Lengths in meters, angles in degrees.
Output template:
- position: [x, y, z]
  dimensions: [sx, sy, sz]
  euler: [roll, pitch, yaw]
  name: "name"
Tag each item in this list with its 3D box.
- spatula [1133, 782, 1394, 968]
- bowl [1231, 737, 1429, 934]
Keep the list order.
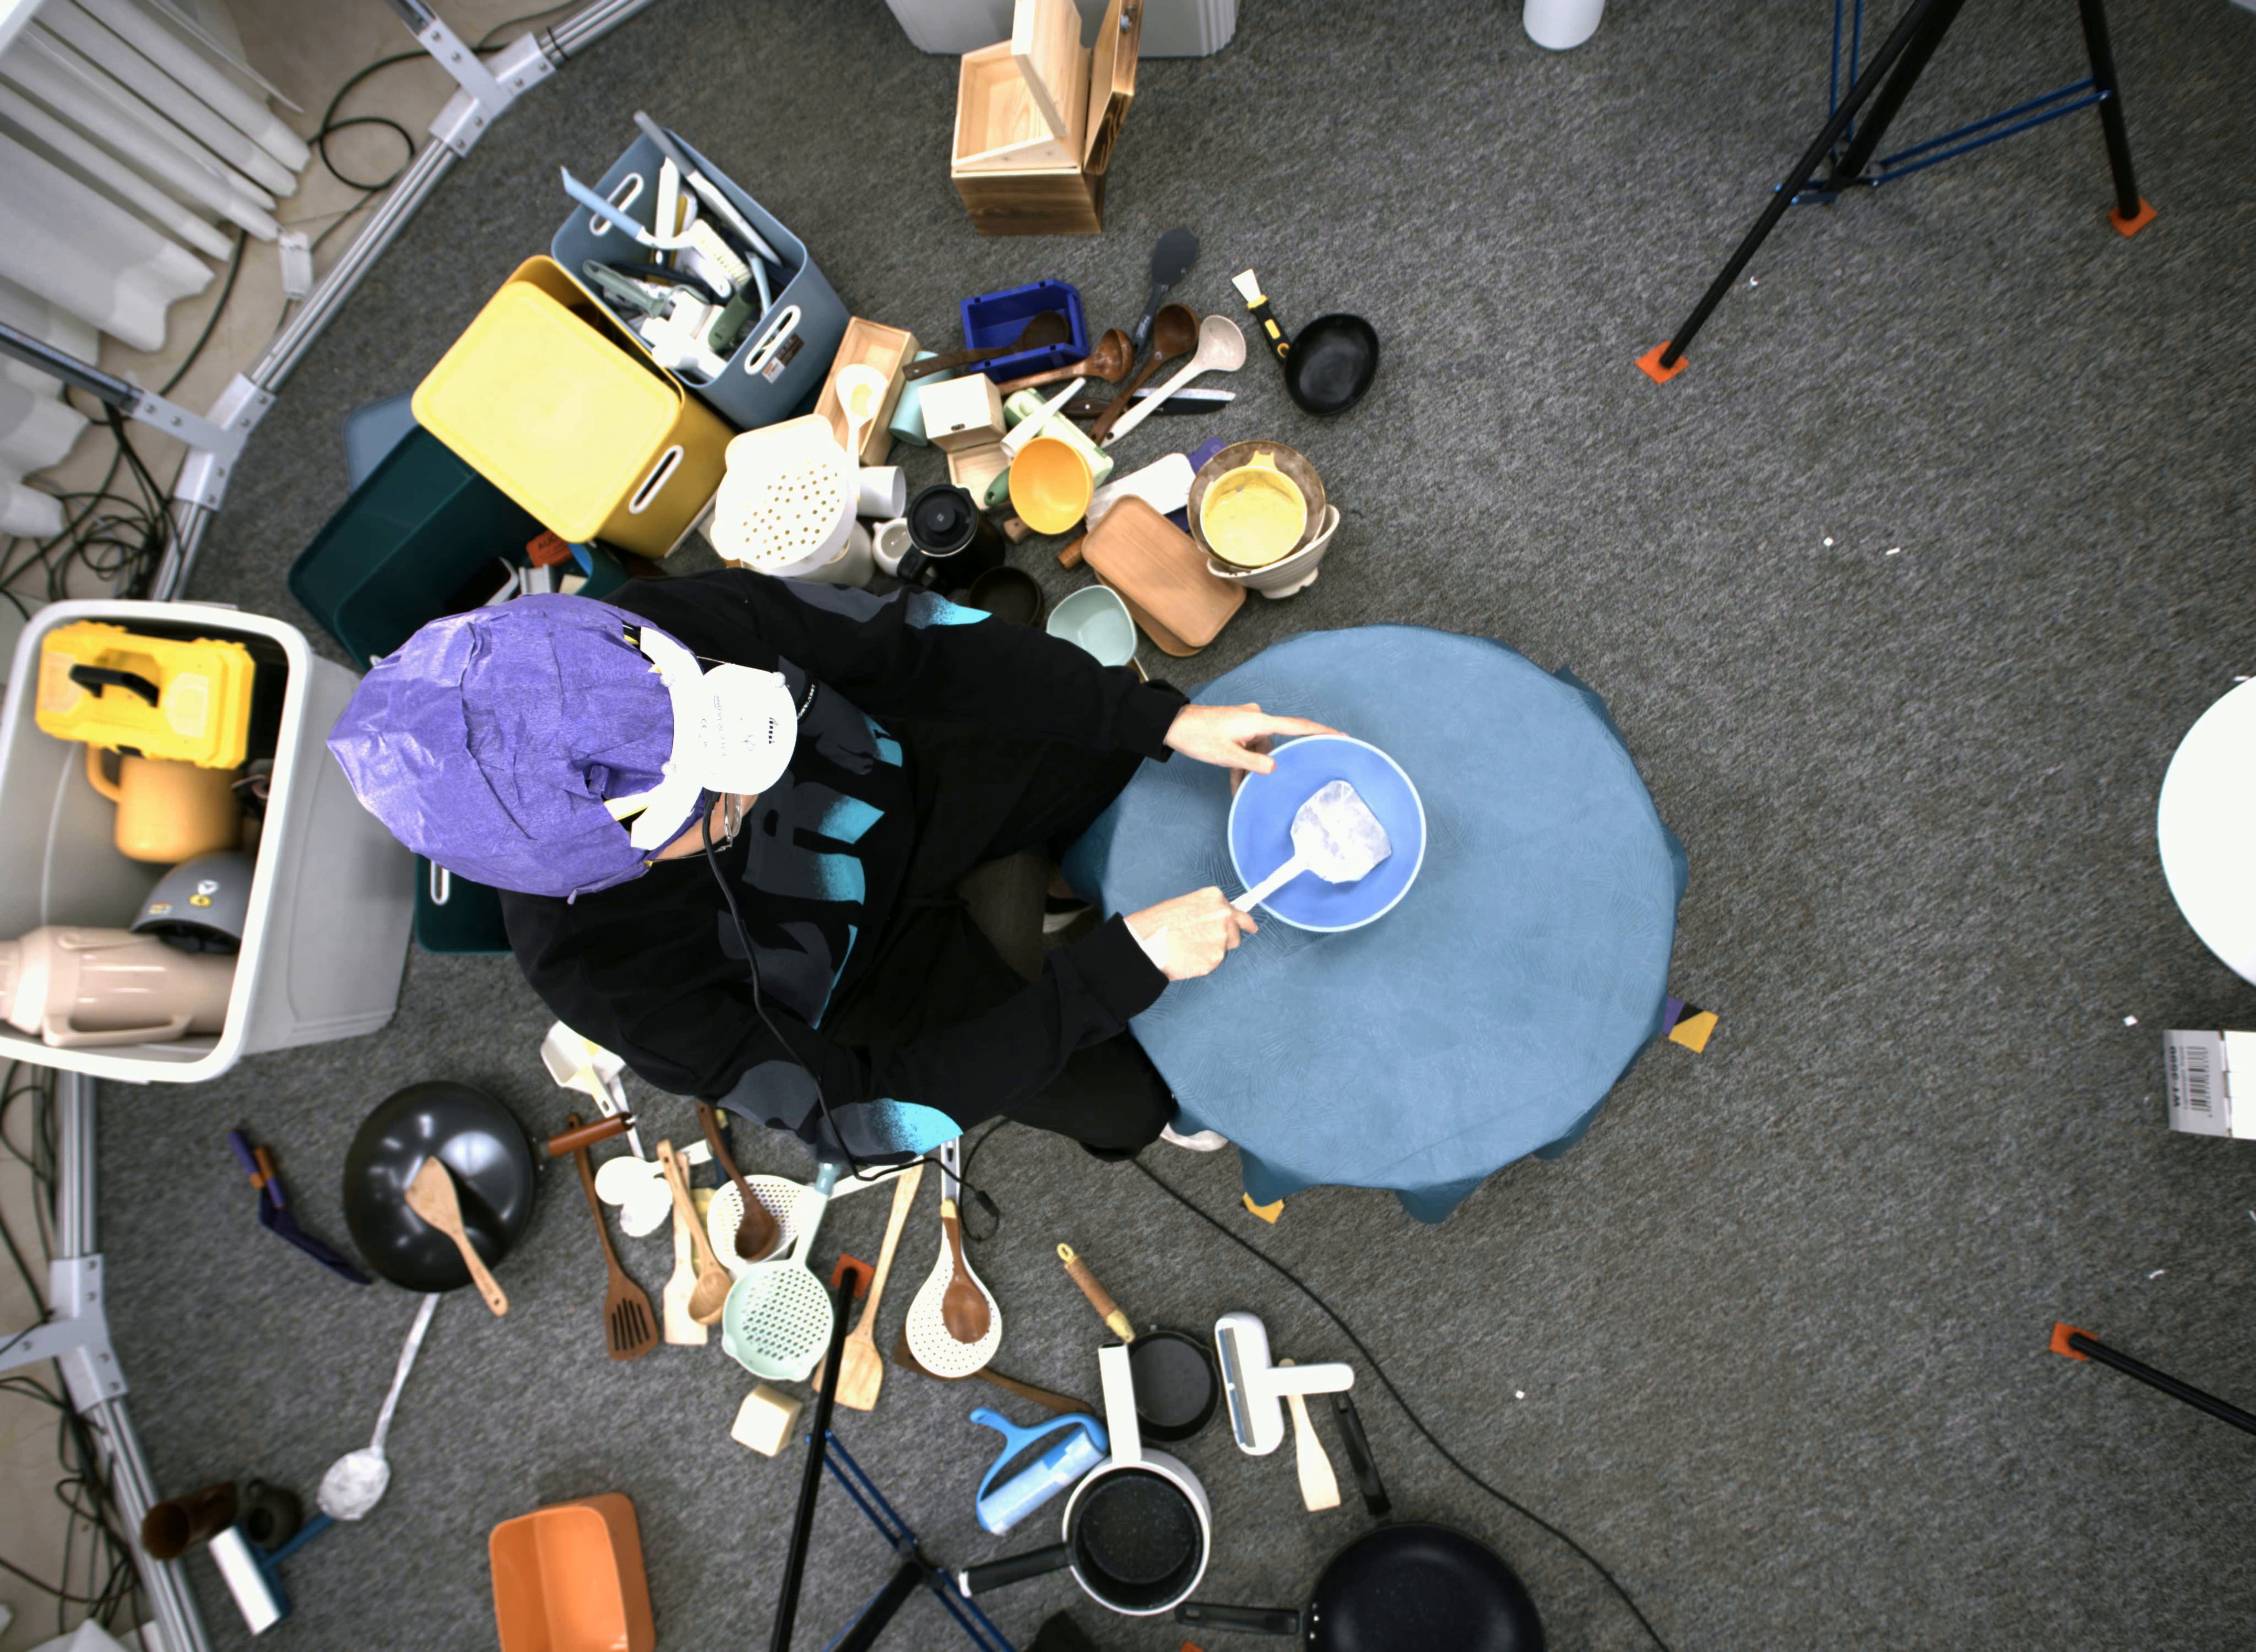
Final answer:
- position: [0.135, 0.056, 1.332]
  dimensions: [0.046, 0.358, 0.098]
  euler: [-38, 83, 46]
  name: "spatula"
- position: [0.207, 0.008, 1.419]
  dimensions: [0.197, 0.095, 0.197]
  euler: [0, 94, 9]
  name: "bowl"
